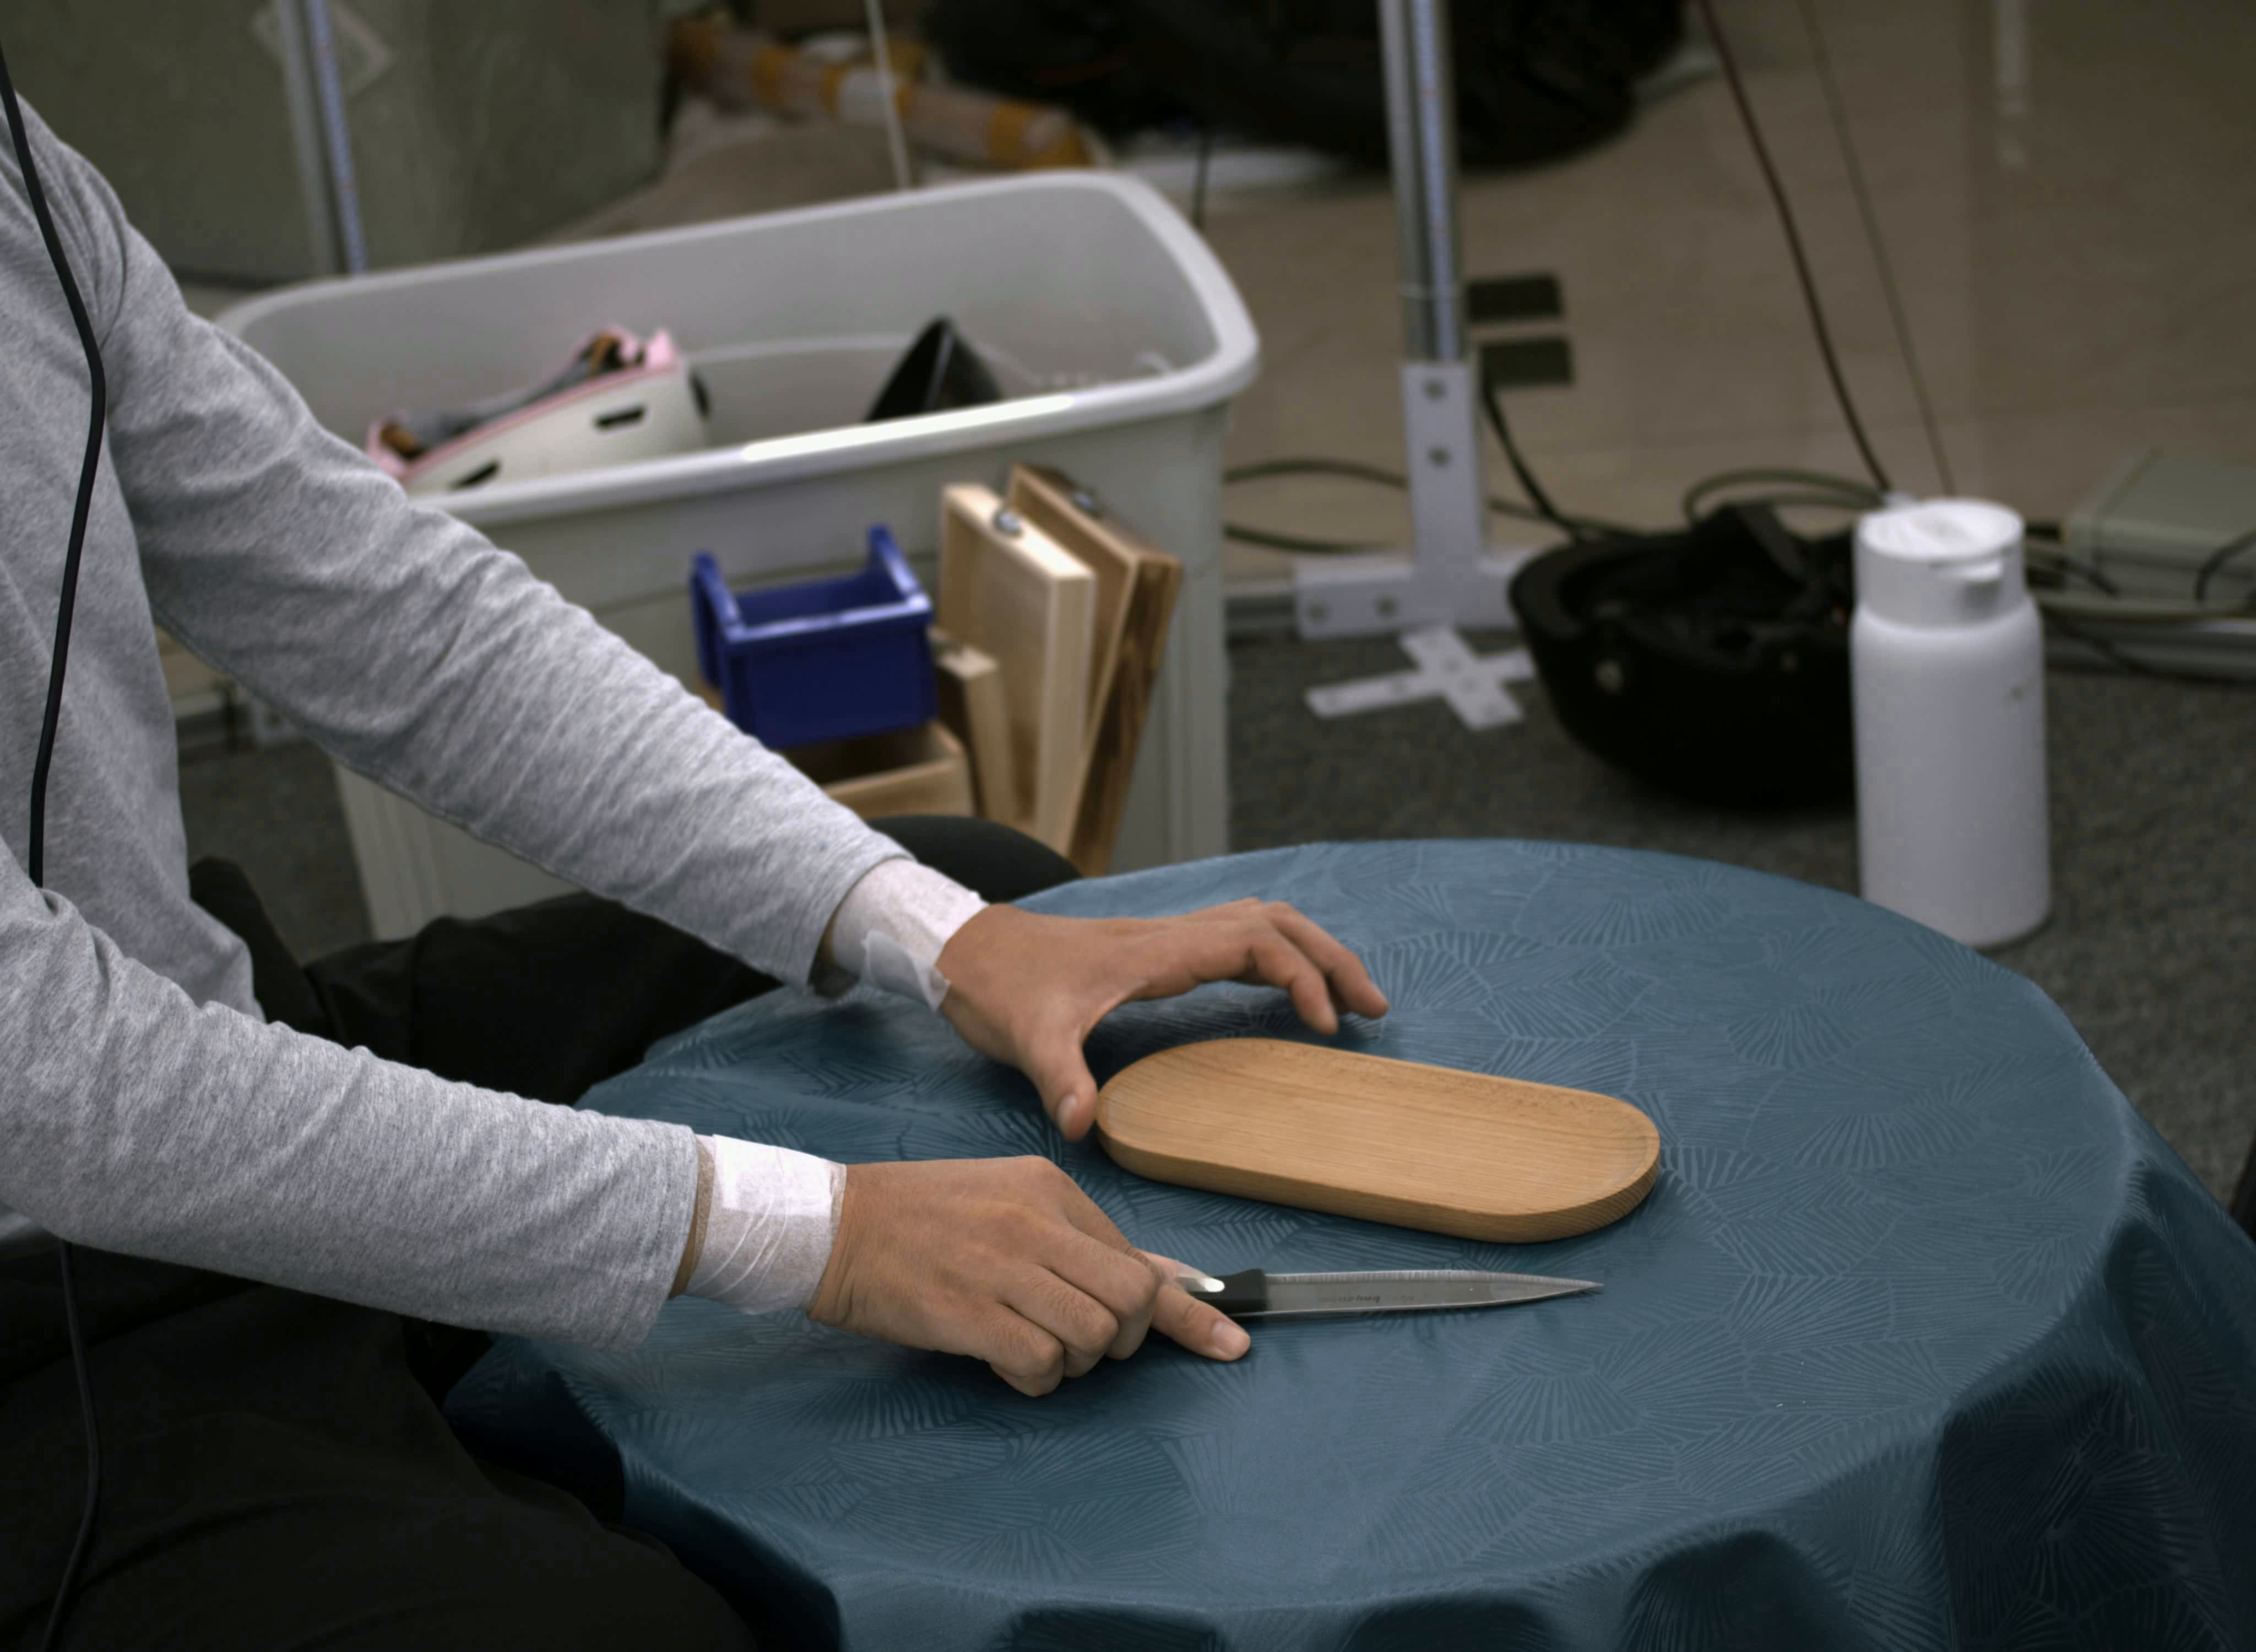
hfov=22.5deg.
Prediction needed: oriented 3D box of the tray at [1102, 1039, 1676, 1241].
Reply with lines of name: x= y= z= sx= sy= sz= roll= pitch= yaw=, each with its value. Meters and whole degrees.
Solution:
tray: x=0.097 y=0.119 z=2.153 sx=0.230 sy=0.020 sz=0.100 roll=9 pitch=30 yaw=27

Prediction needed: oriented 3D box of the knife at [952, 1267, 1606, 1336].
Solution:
knife: x=0.054 y=0.171 z=2.055 sx=0.238 sy=0.016 sz=0.024 roll=-3 pitch=32 yaw=3
